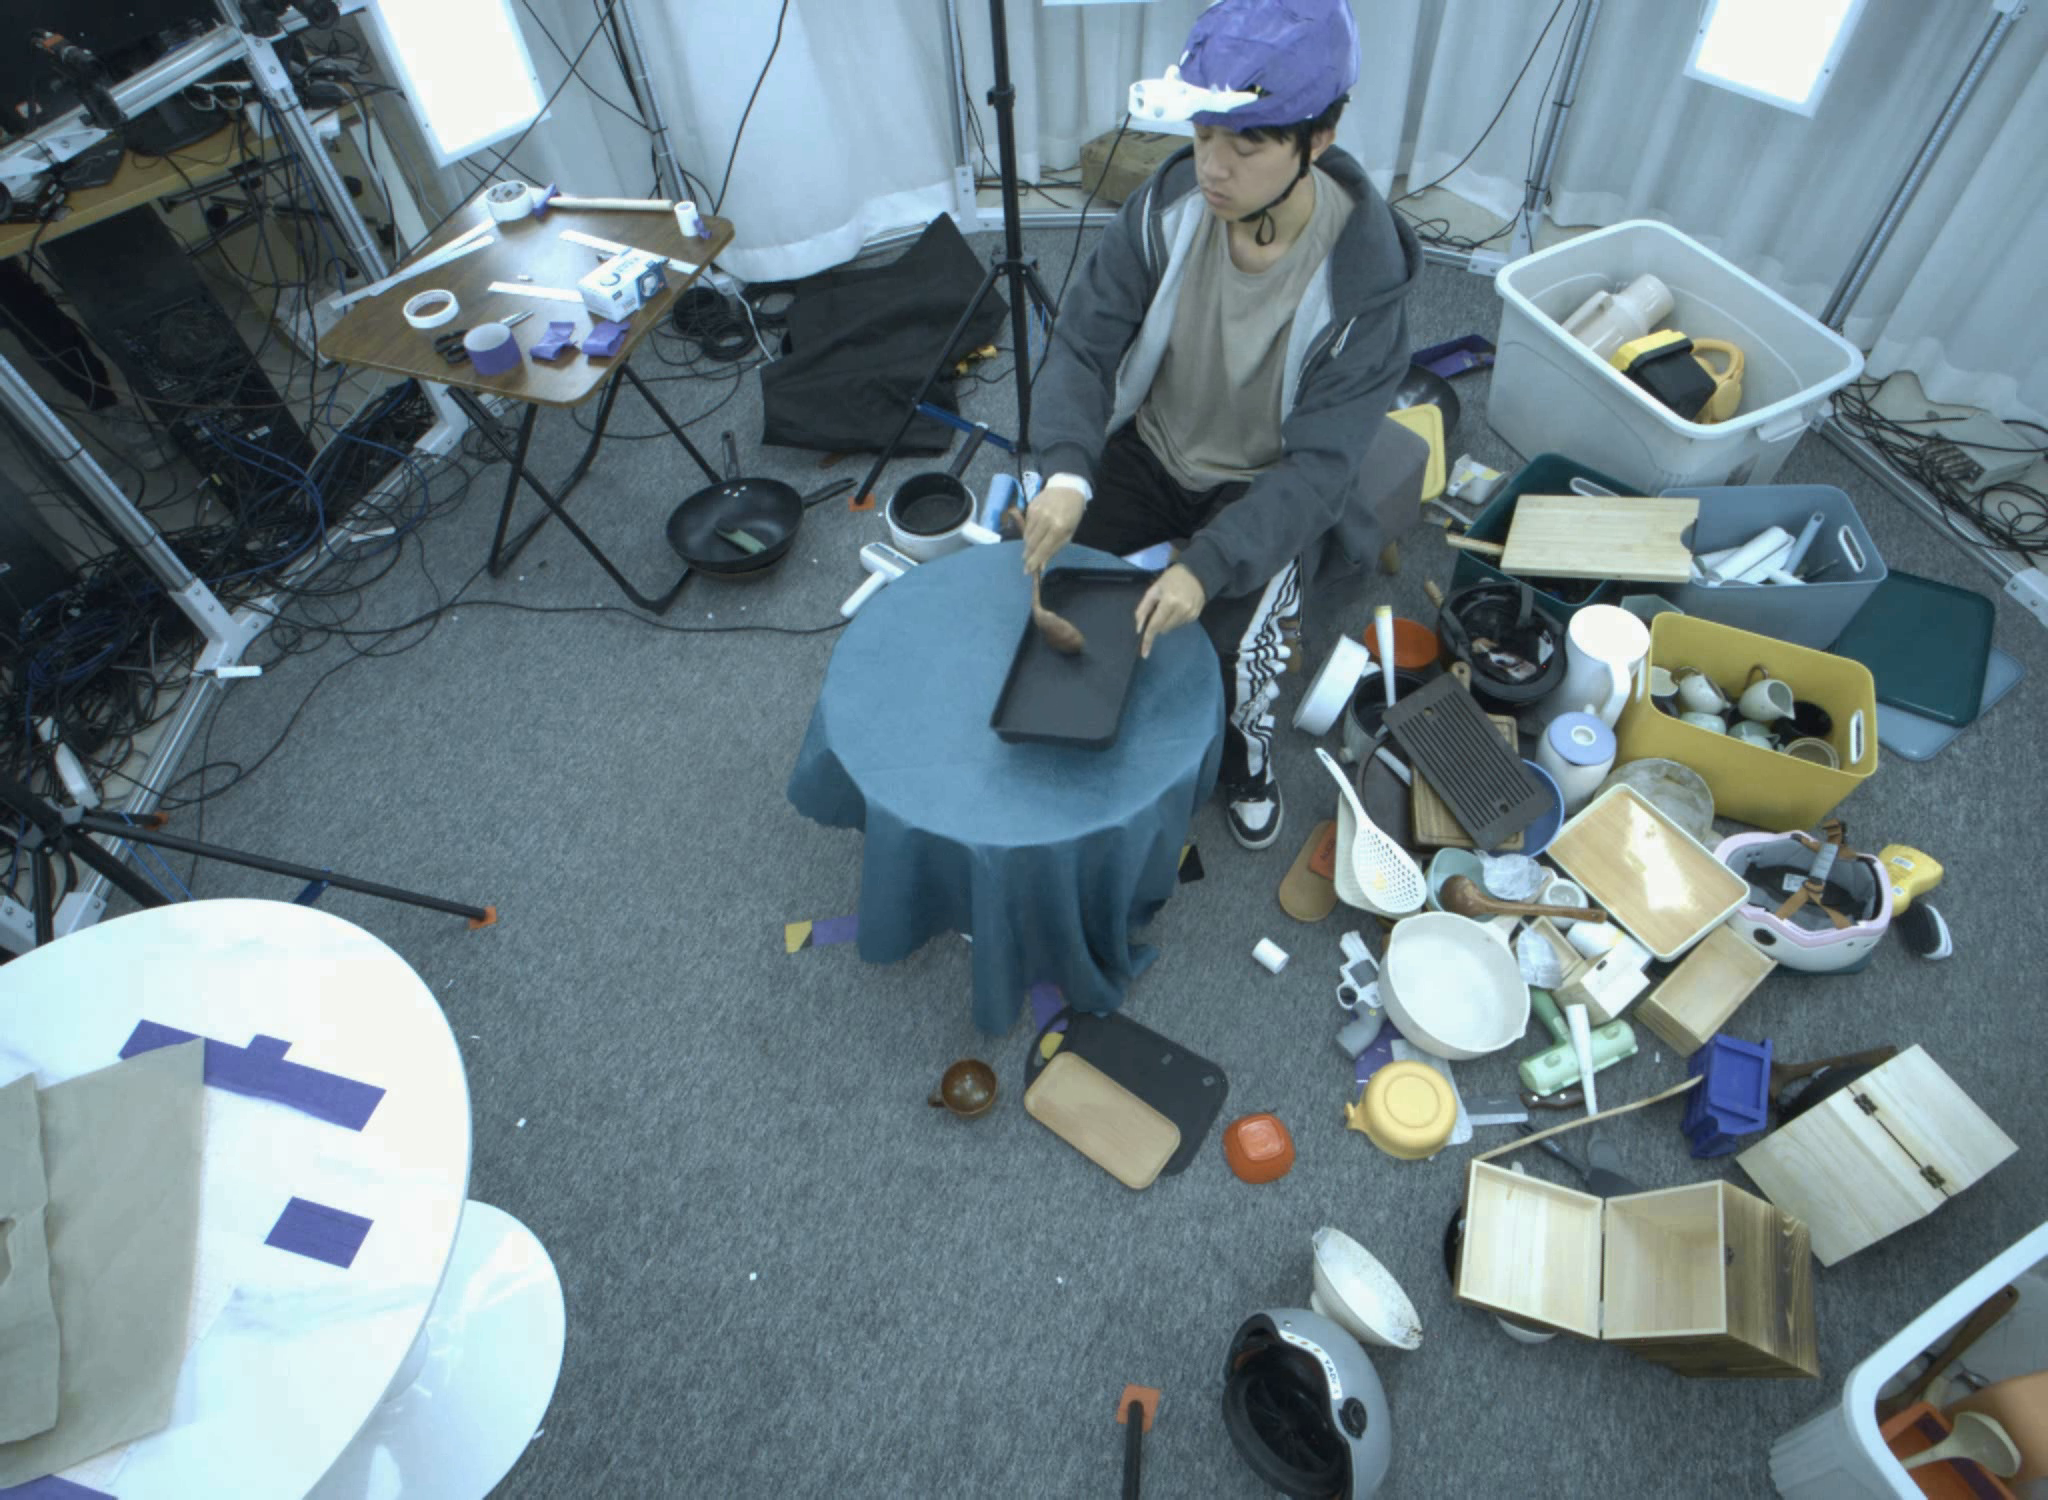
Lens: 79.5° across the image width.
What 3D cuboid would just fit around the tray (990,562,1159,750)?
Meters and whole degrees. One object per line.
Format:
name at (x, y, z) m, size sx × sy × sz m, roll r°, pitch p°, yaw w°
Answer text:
tray at (0.078, -0.143, 1.783) m, size 0.182 × 0.037 × 0.317 m, roll 6°, pitch 58°, yaw 20°

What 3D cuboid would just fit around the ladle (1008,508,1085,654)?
ladle at (0.032, -0.257, 1.819) m, size 0.065 × 0.077 × 0.257 m, roll -13°, pitch 67°, yaw -1°
